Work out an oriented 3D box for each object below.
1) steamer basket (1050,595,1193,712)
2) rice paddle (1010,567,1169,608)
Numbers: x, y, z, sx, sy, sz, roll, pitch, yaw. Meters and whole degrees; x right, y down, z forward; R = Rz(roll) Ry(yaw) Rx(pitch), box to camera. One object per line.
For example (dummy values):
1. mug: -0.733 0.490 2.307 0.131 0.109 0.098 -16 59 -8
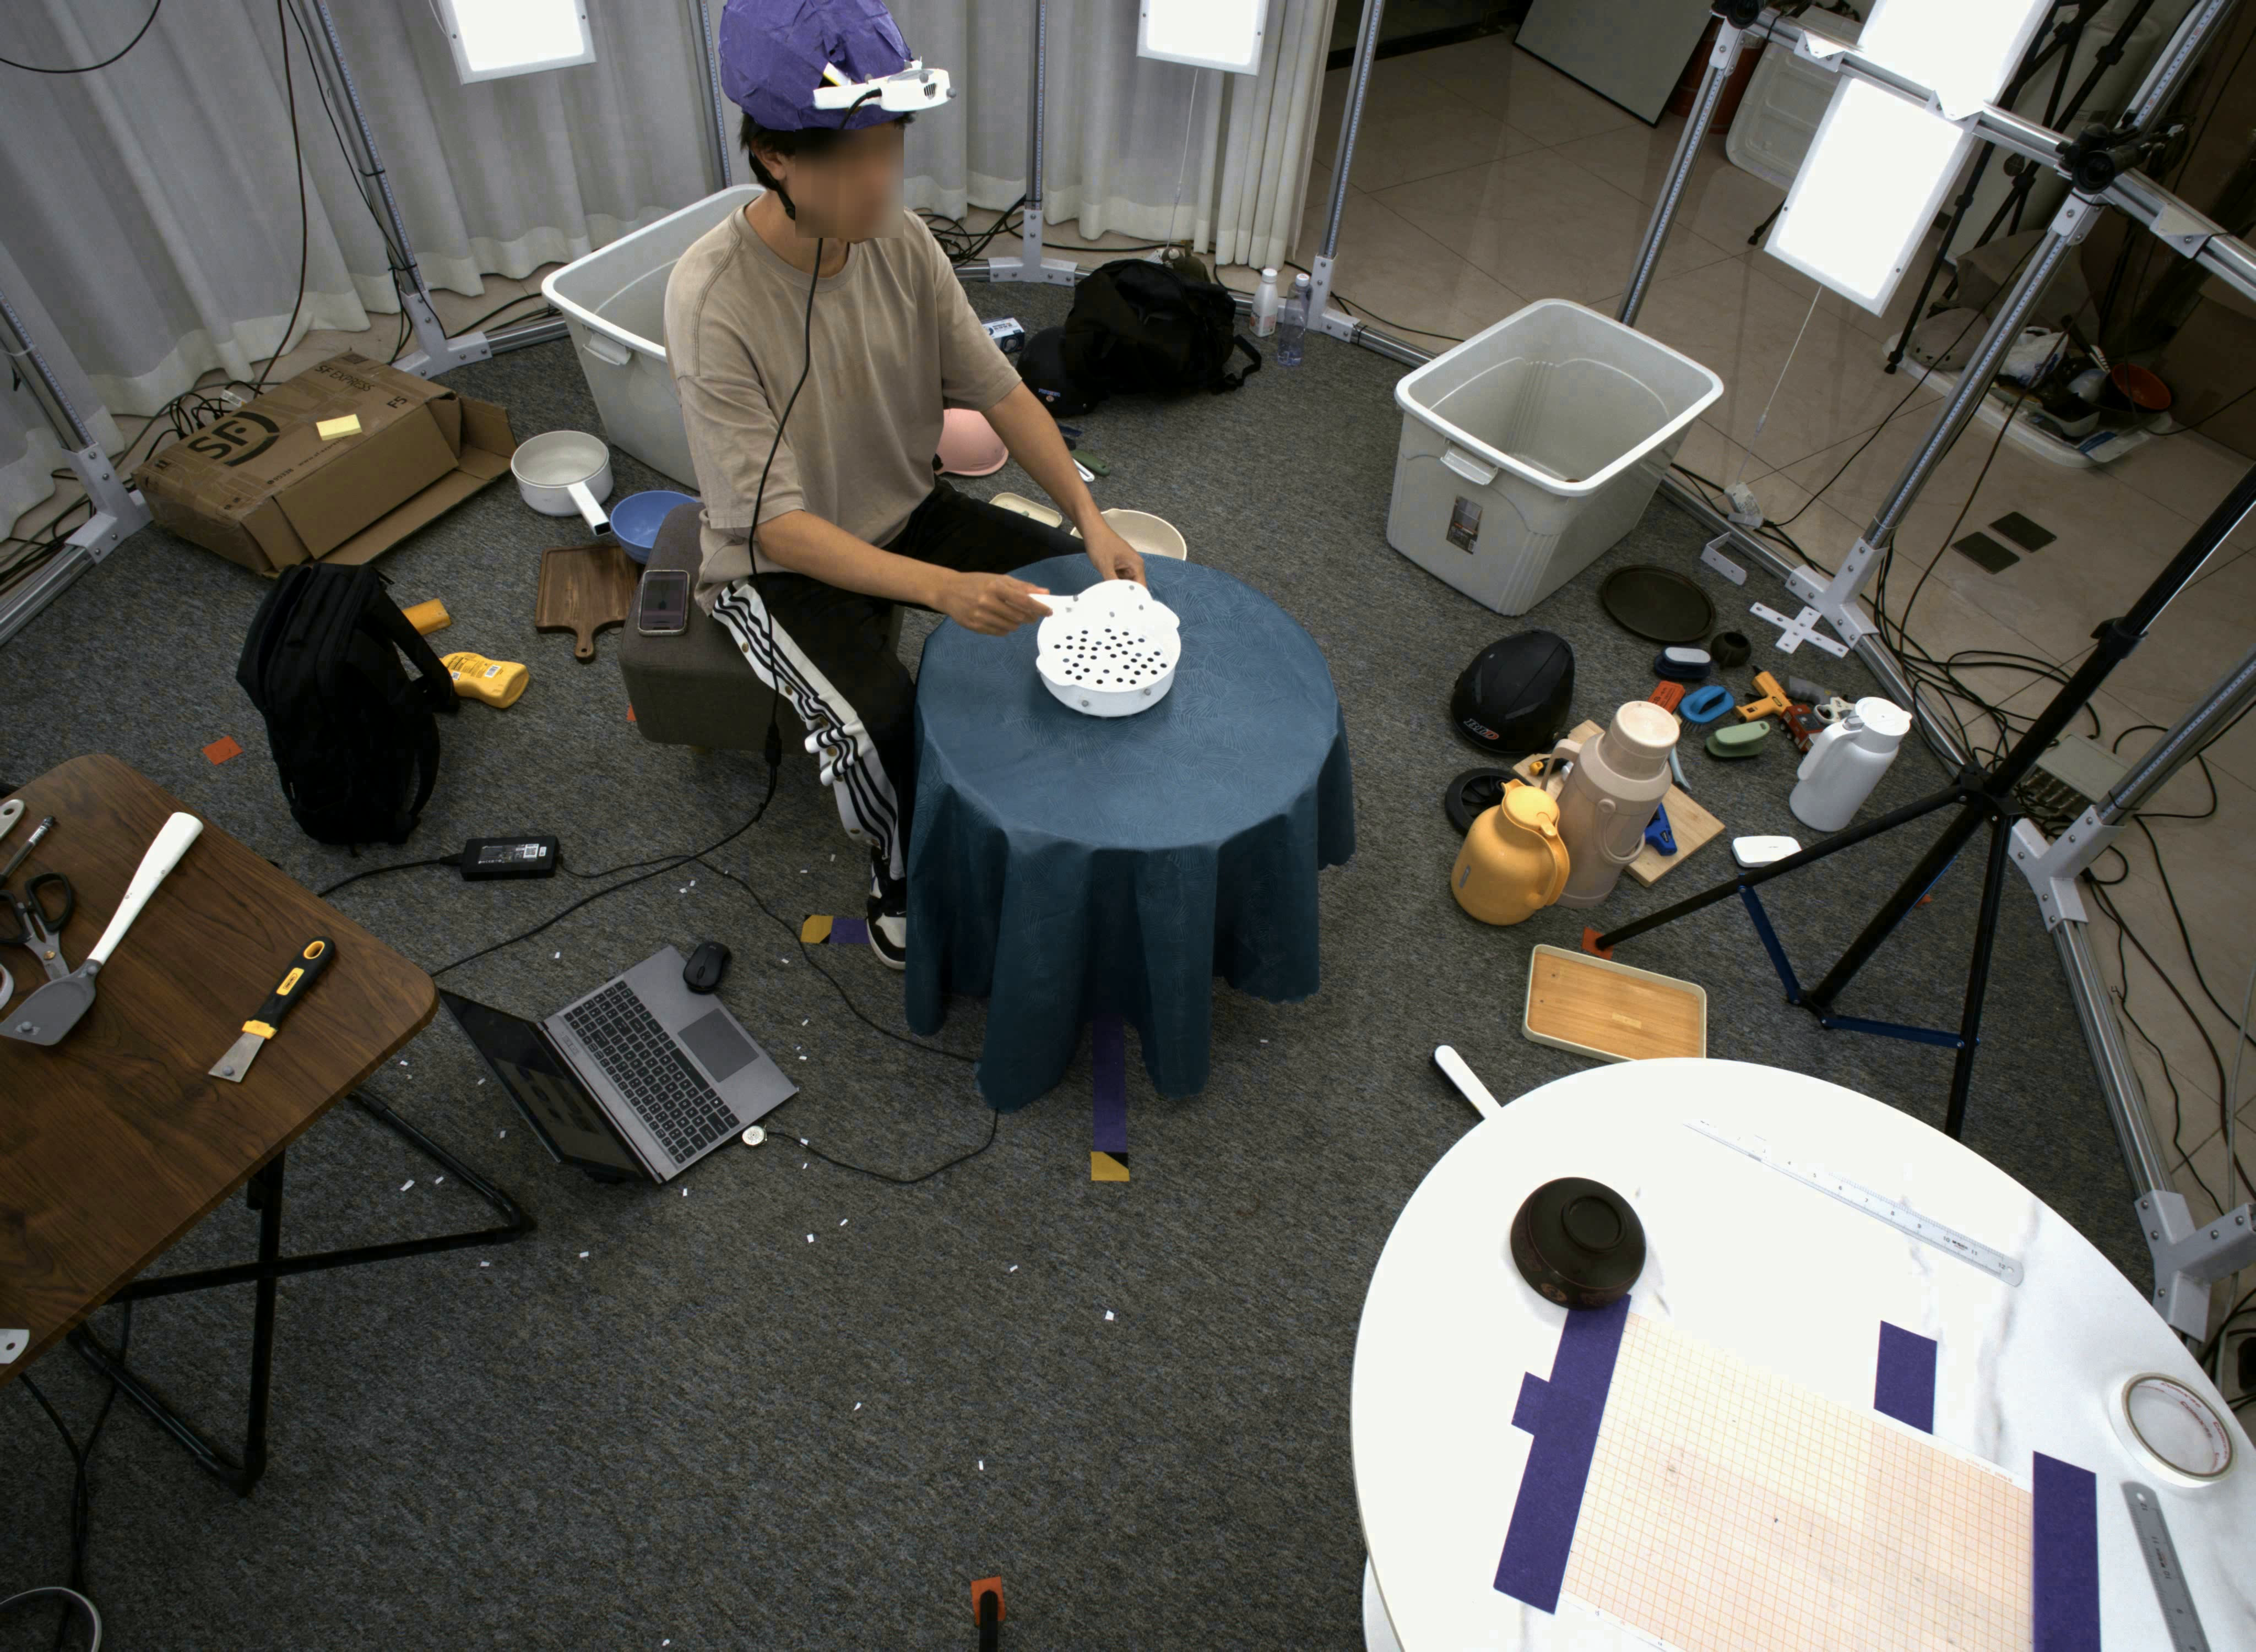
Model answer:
1. steamer basket: -0.012 -0.248 1.825 0.232 0.067 0.205 -30 58 -30
2. rice paddle: -0.049 -0.306 1.663 0.205 0.029 0.070 -2 57 3
